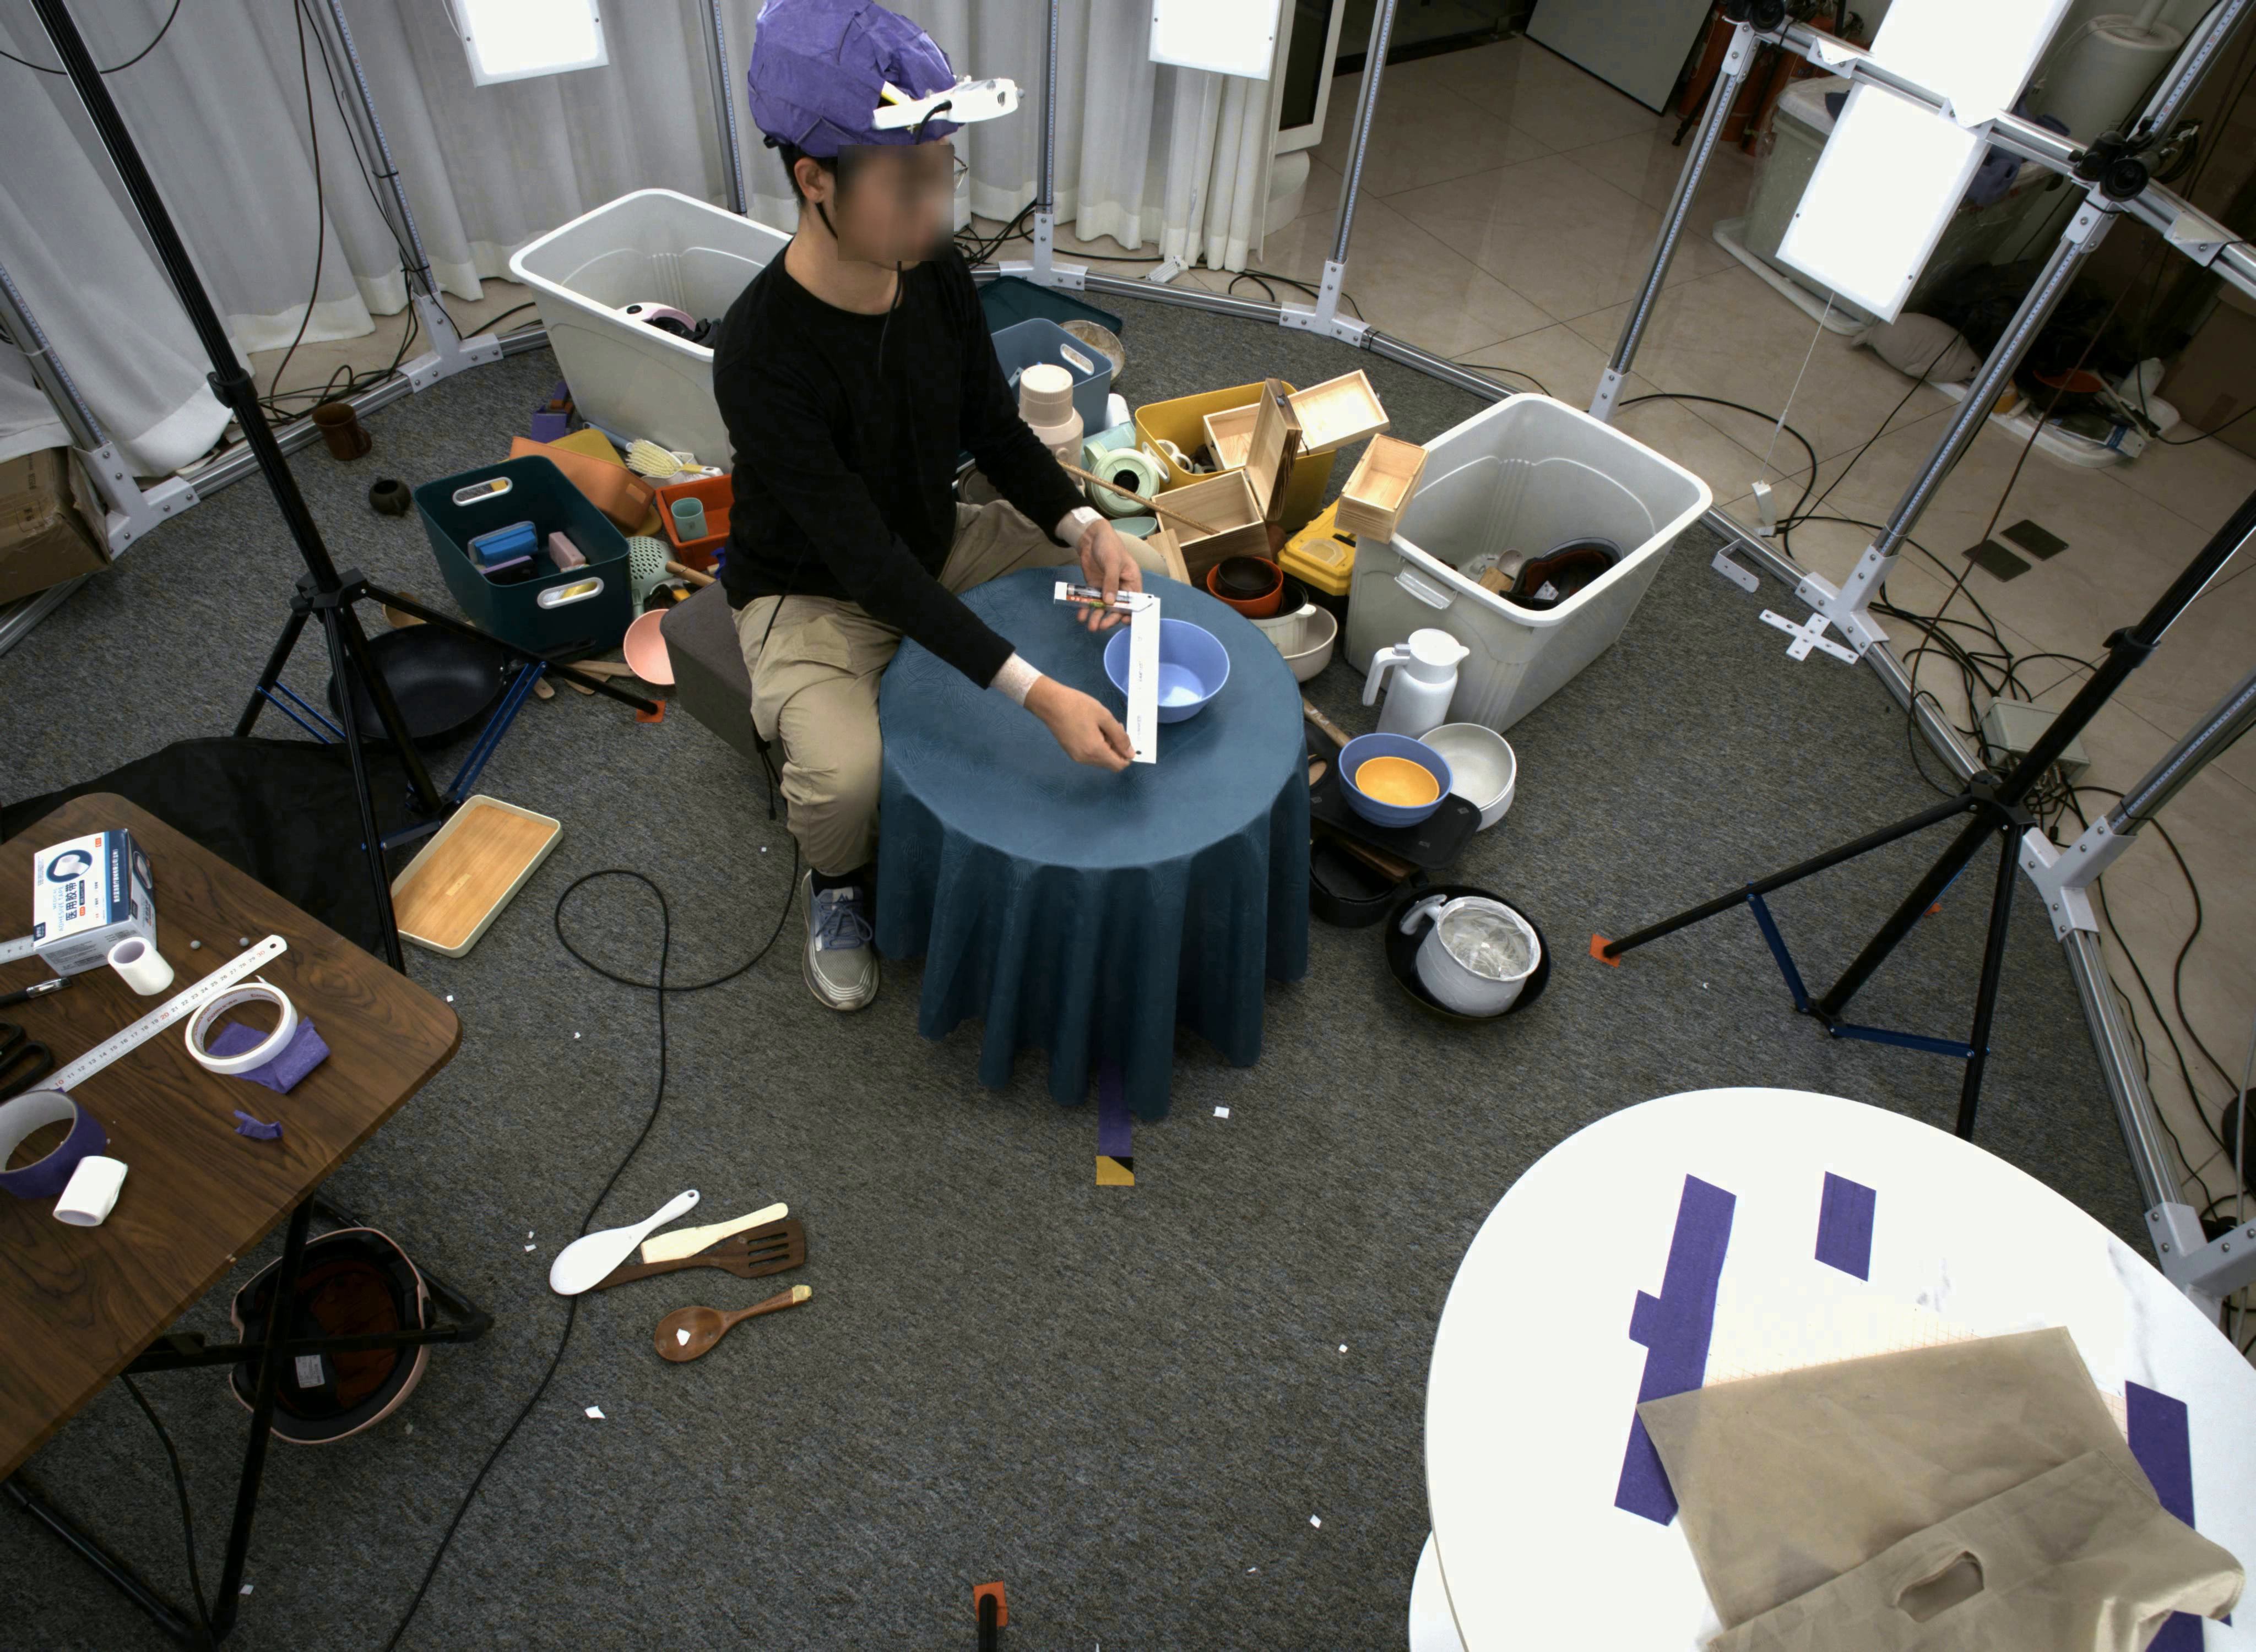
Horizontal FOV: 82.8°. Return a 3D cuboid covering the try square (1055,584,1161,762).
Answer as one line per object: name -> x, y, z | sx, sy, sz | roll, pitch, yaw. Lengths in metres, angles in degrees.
try square -> -0.032, -0.214, 1.751 | 0.152, 0.015, 0.320 | 5, 51, -2

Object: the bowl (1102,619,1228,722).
bowl -> 0.050, -0.211, 1.812 | 0.176, 0.068, 0.180 | 2, 49, -3
